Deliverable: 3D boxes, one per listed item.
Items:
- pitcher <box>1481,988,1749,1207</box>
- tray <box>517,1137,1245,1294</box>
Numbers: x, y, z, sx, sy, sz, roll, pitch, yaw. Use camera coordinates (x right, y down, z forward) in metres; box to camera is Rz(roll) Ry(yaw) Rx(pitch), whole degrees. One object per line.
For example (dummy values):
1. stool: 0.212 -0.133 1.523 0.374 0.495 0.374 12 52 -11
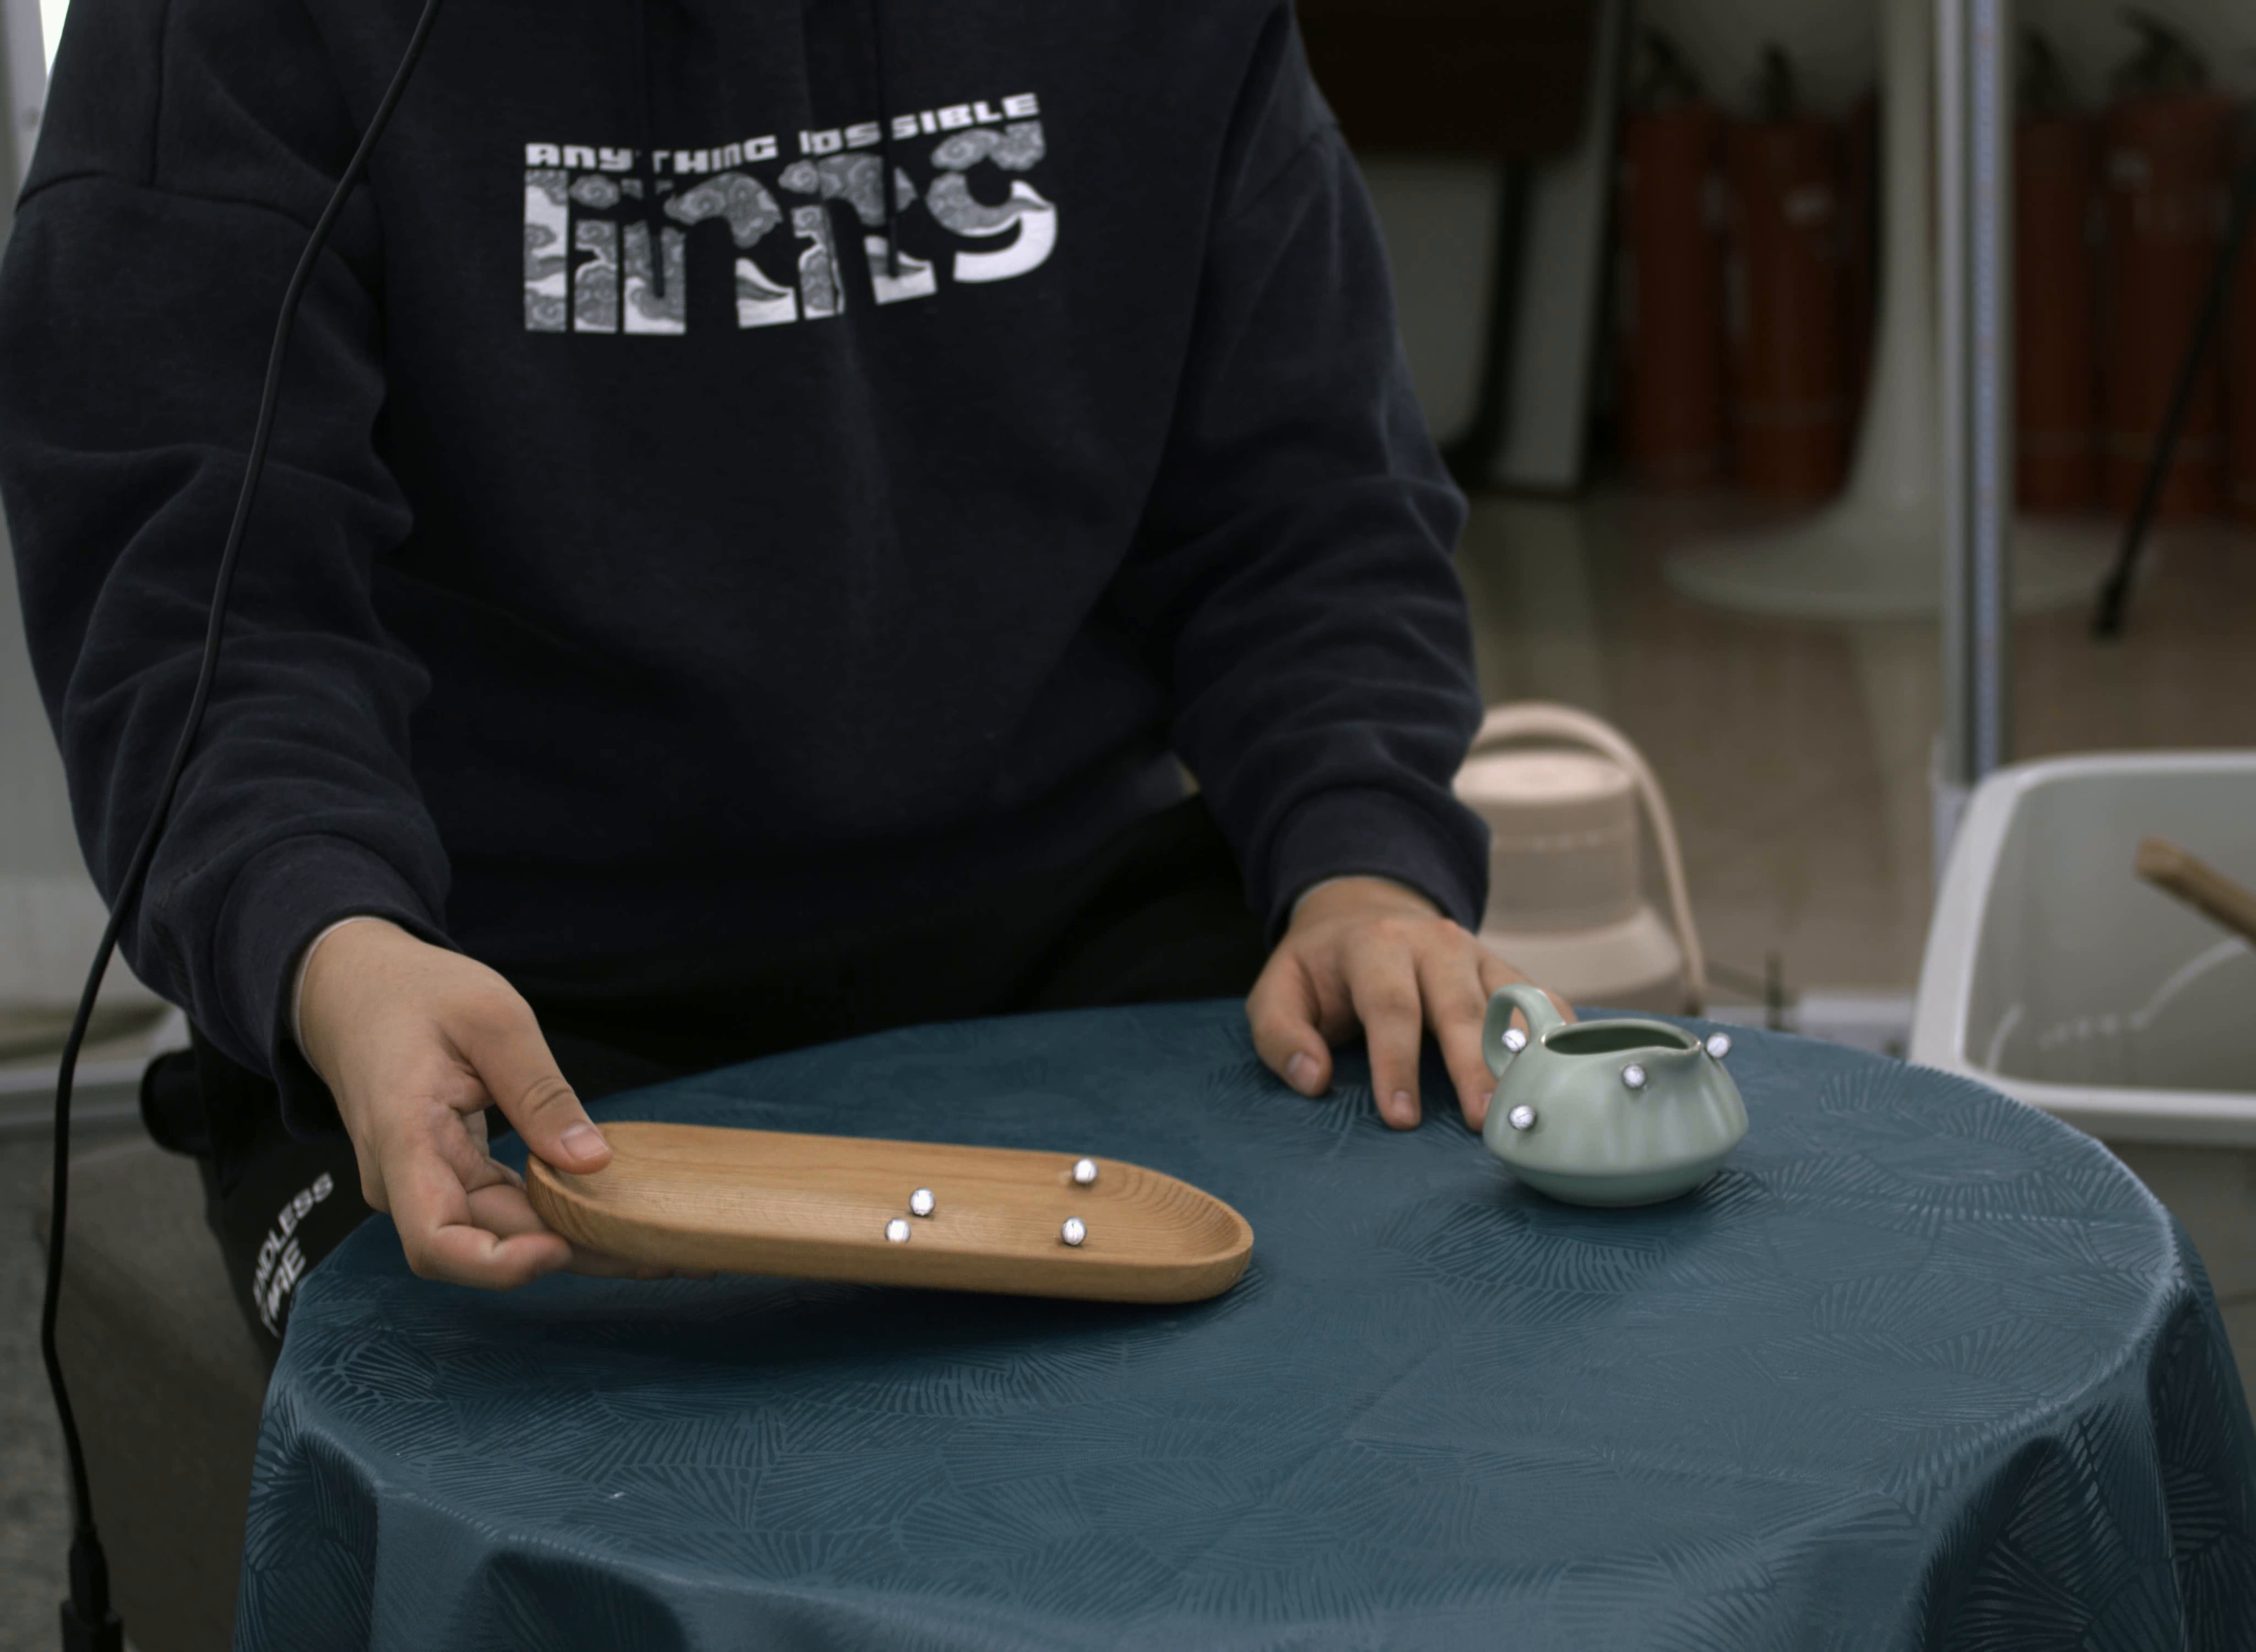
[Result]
1. pitcher: 0.151 0.088 1.750 0.084 0.061 0.109 -12 13 -34
2. tray: -0.075 0.121 1.666 0.226 0.020 0.102 4 10 -15
